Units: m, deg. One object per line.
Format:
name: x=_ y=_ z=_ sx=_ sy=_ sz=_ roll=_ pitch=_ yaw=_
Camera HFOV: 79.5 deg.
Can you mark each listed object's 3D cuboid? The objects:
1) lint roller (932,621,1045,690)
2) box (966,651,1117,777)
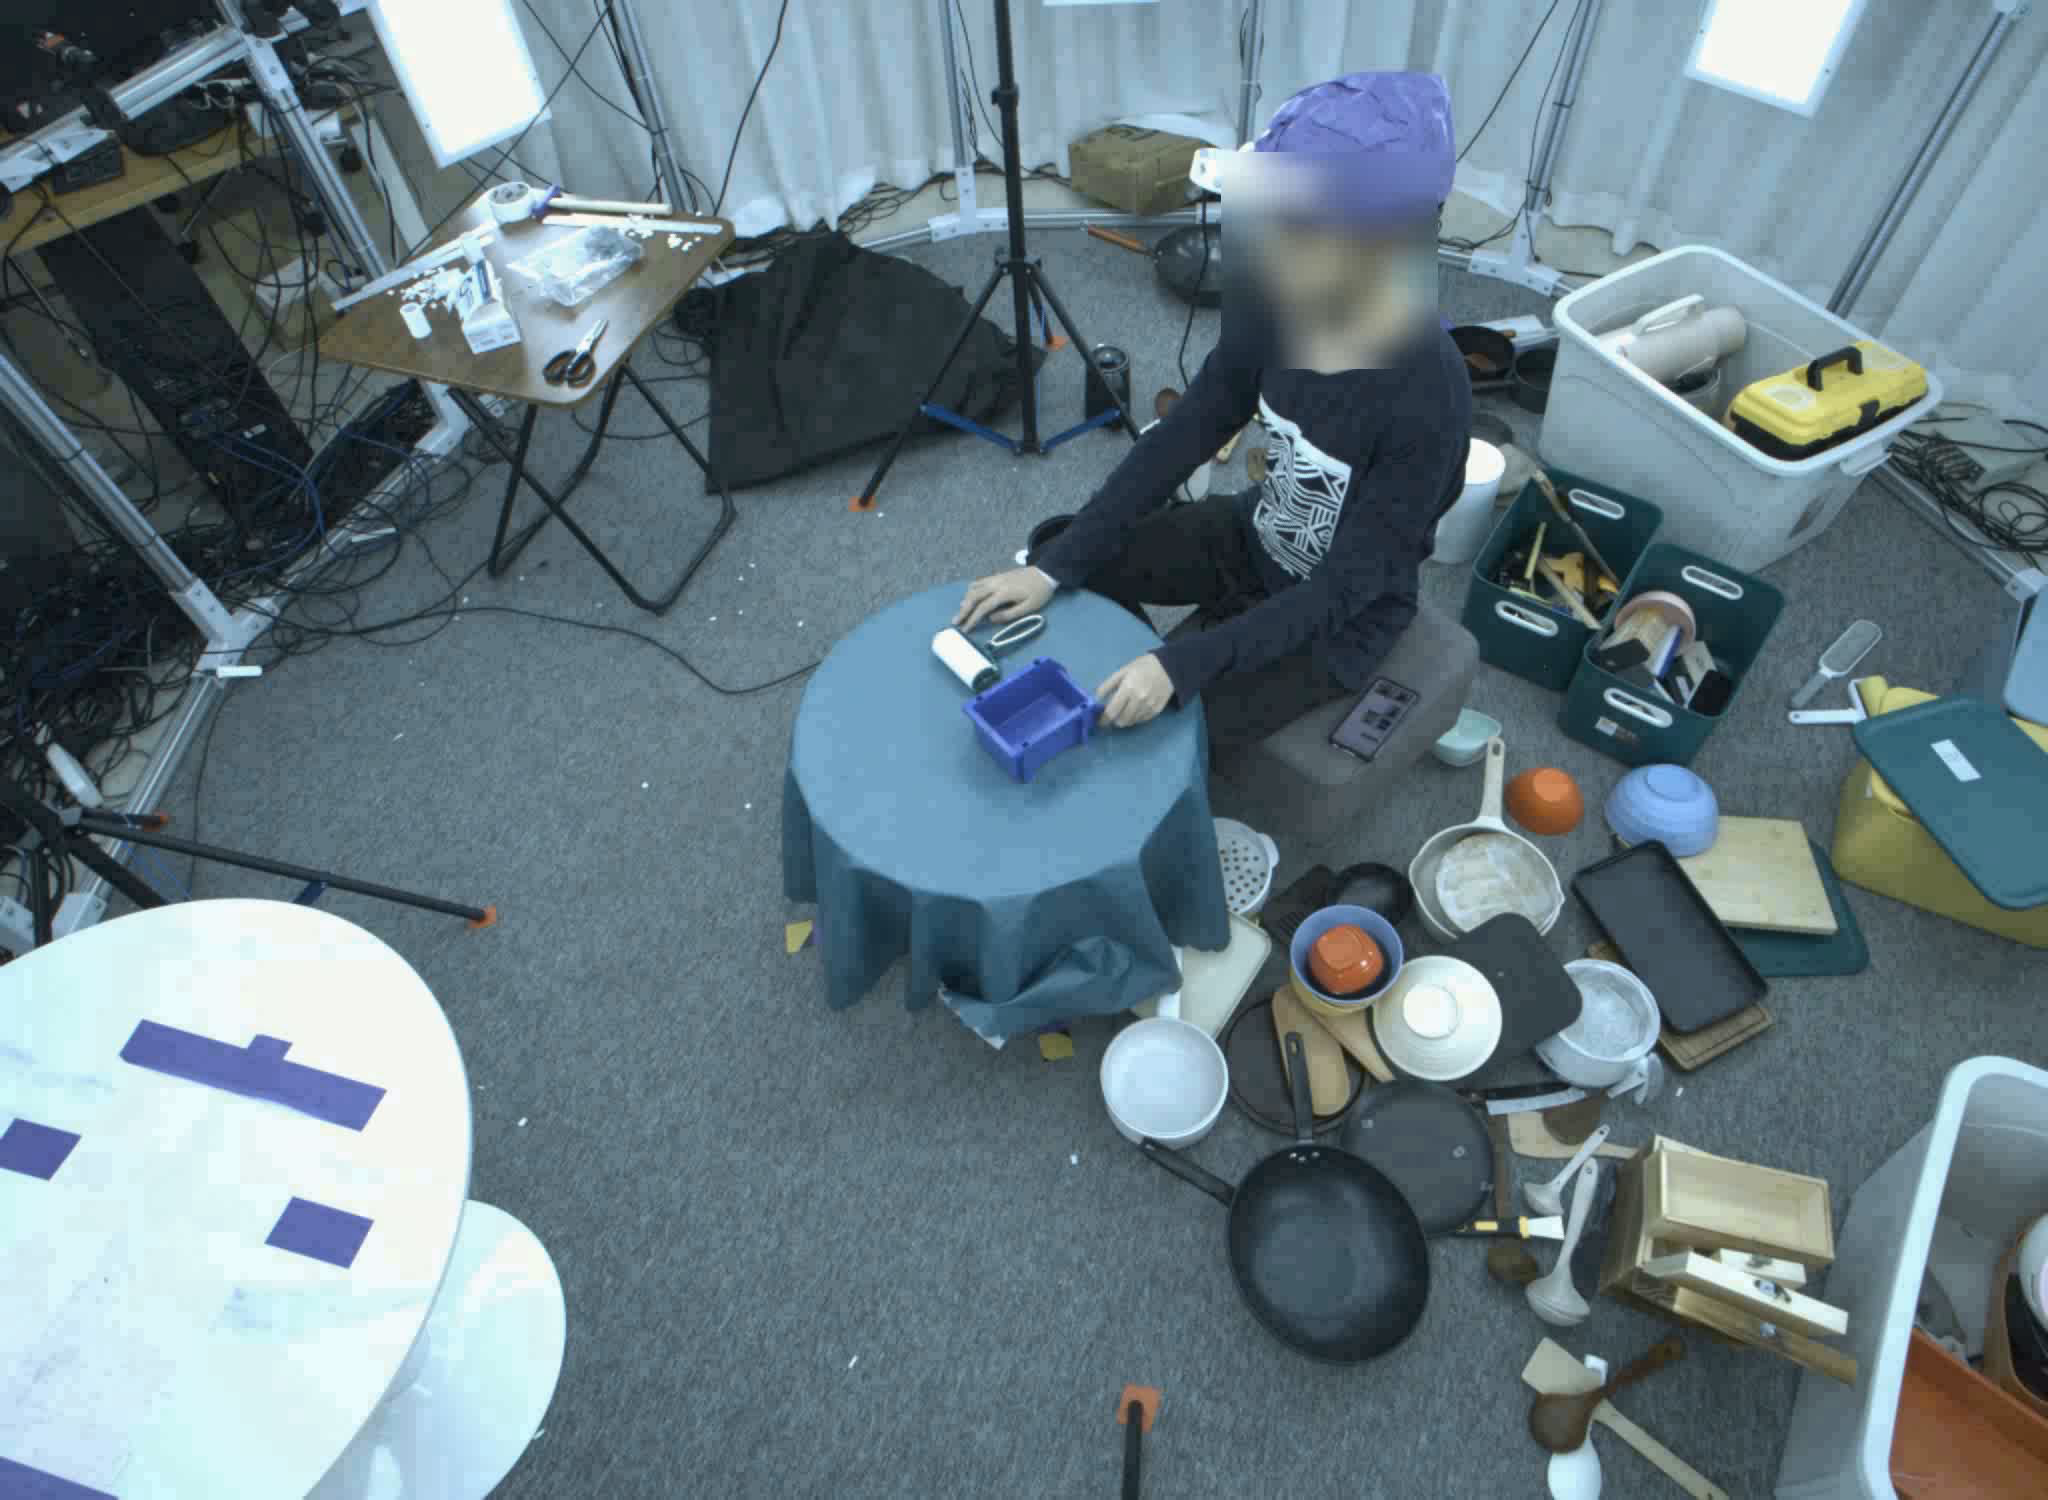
lint roller: x=-0.039 y=-0.170 z=1.895 sx=0.182 sy=0.049 sz=0.132 roll=-31 pitch=59 yaw=-25
box: x=0.026 y=-0.056 z=1.785 sx=0.180 sy=0.083 sz=0.122 roll=-33 pitch=58 yaw=-17
